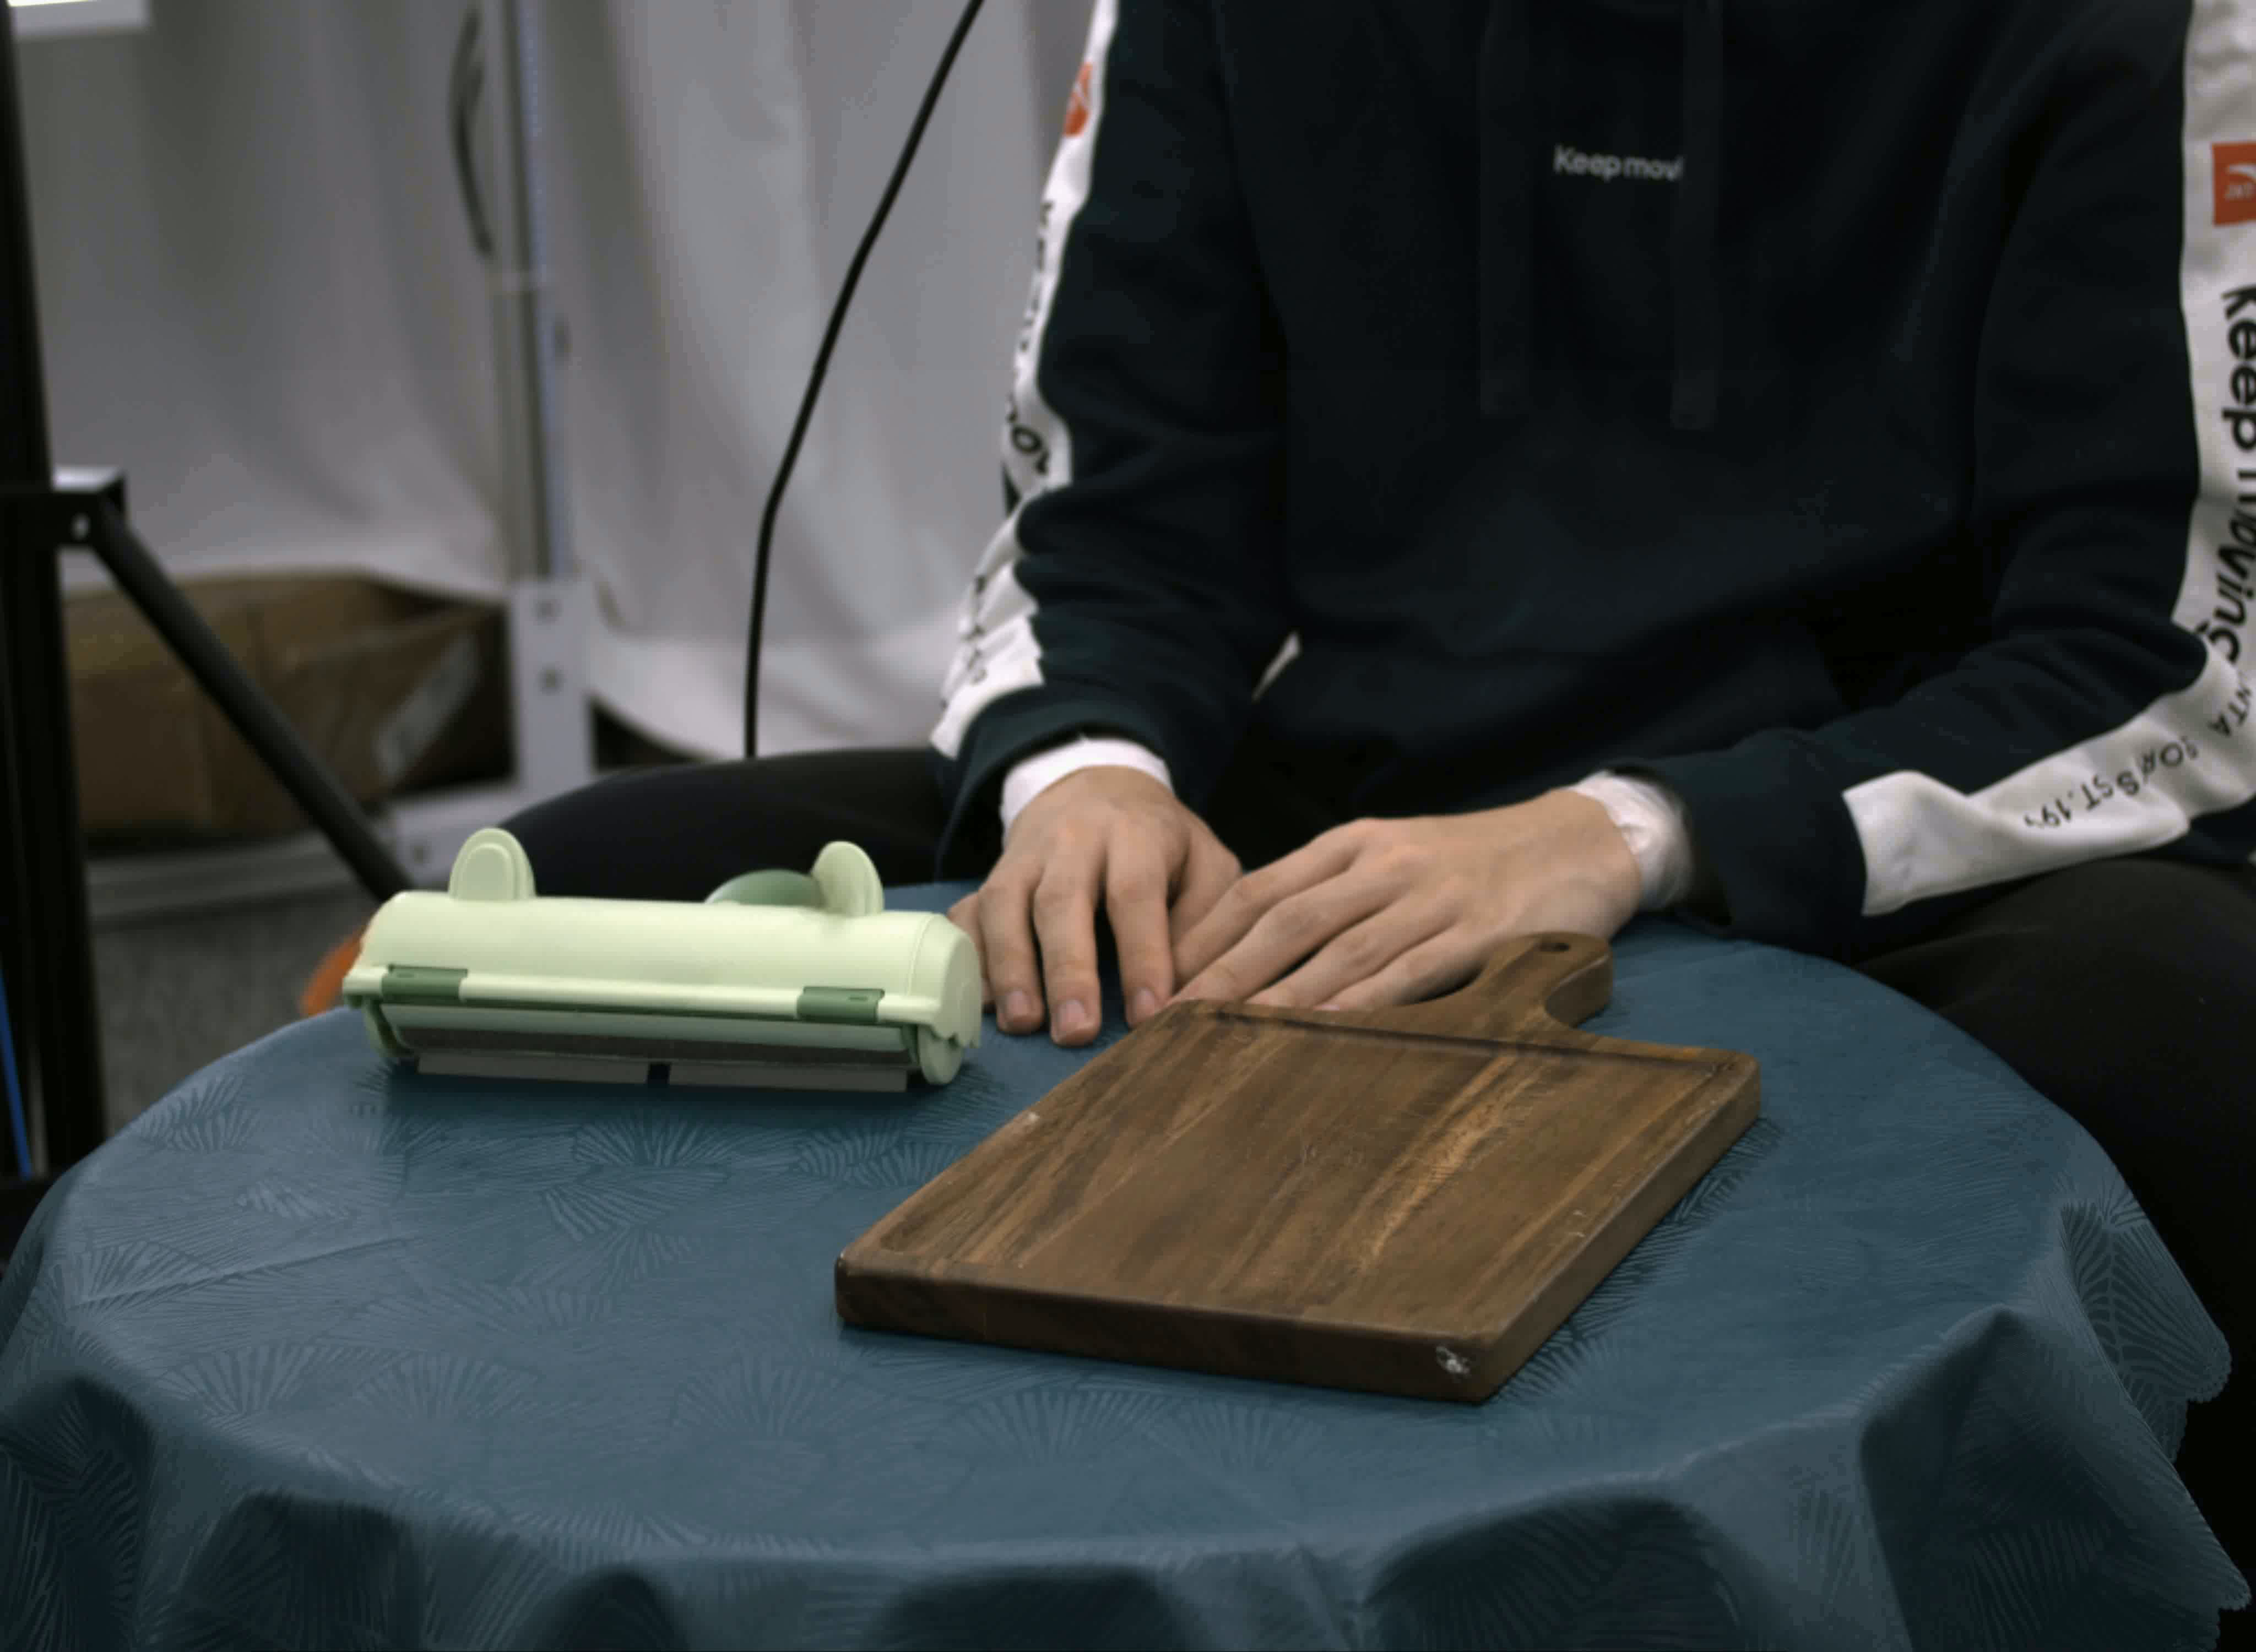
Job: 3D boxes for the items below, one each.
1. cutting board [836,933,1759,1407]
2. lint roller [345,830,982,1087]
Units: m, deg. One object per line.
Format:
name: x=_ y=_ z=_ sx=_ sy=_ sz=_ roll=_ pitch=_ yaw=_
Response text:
cutting board: x=0.074 y=0.091 z=1.568 sx=0.204 sy=0.023 sz=0.347 roll=4 pitch=17 yaw=23
lint roller: x=-0.133 y=0.026 z=1.730 sx=0.200 sy=0.082 sz=0.182 roll=2 pitch=21 yaw=16
